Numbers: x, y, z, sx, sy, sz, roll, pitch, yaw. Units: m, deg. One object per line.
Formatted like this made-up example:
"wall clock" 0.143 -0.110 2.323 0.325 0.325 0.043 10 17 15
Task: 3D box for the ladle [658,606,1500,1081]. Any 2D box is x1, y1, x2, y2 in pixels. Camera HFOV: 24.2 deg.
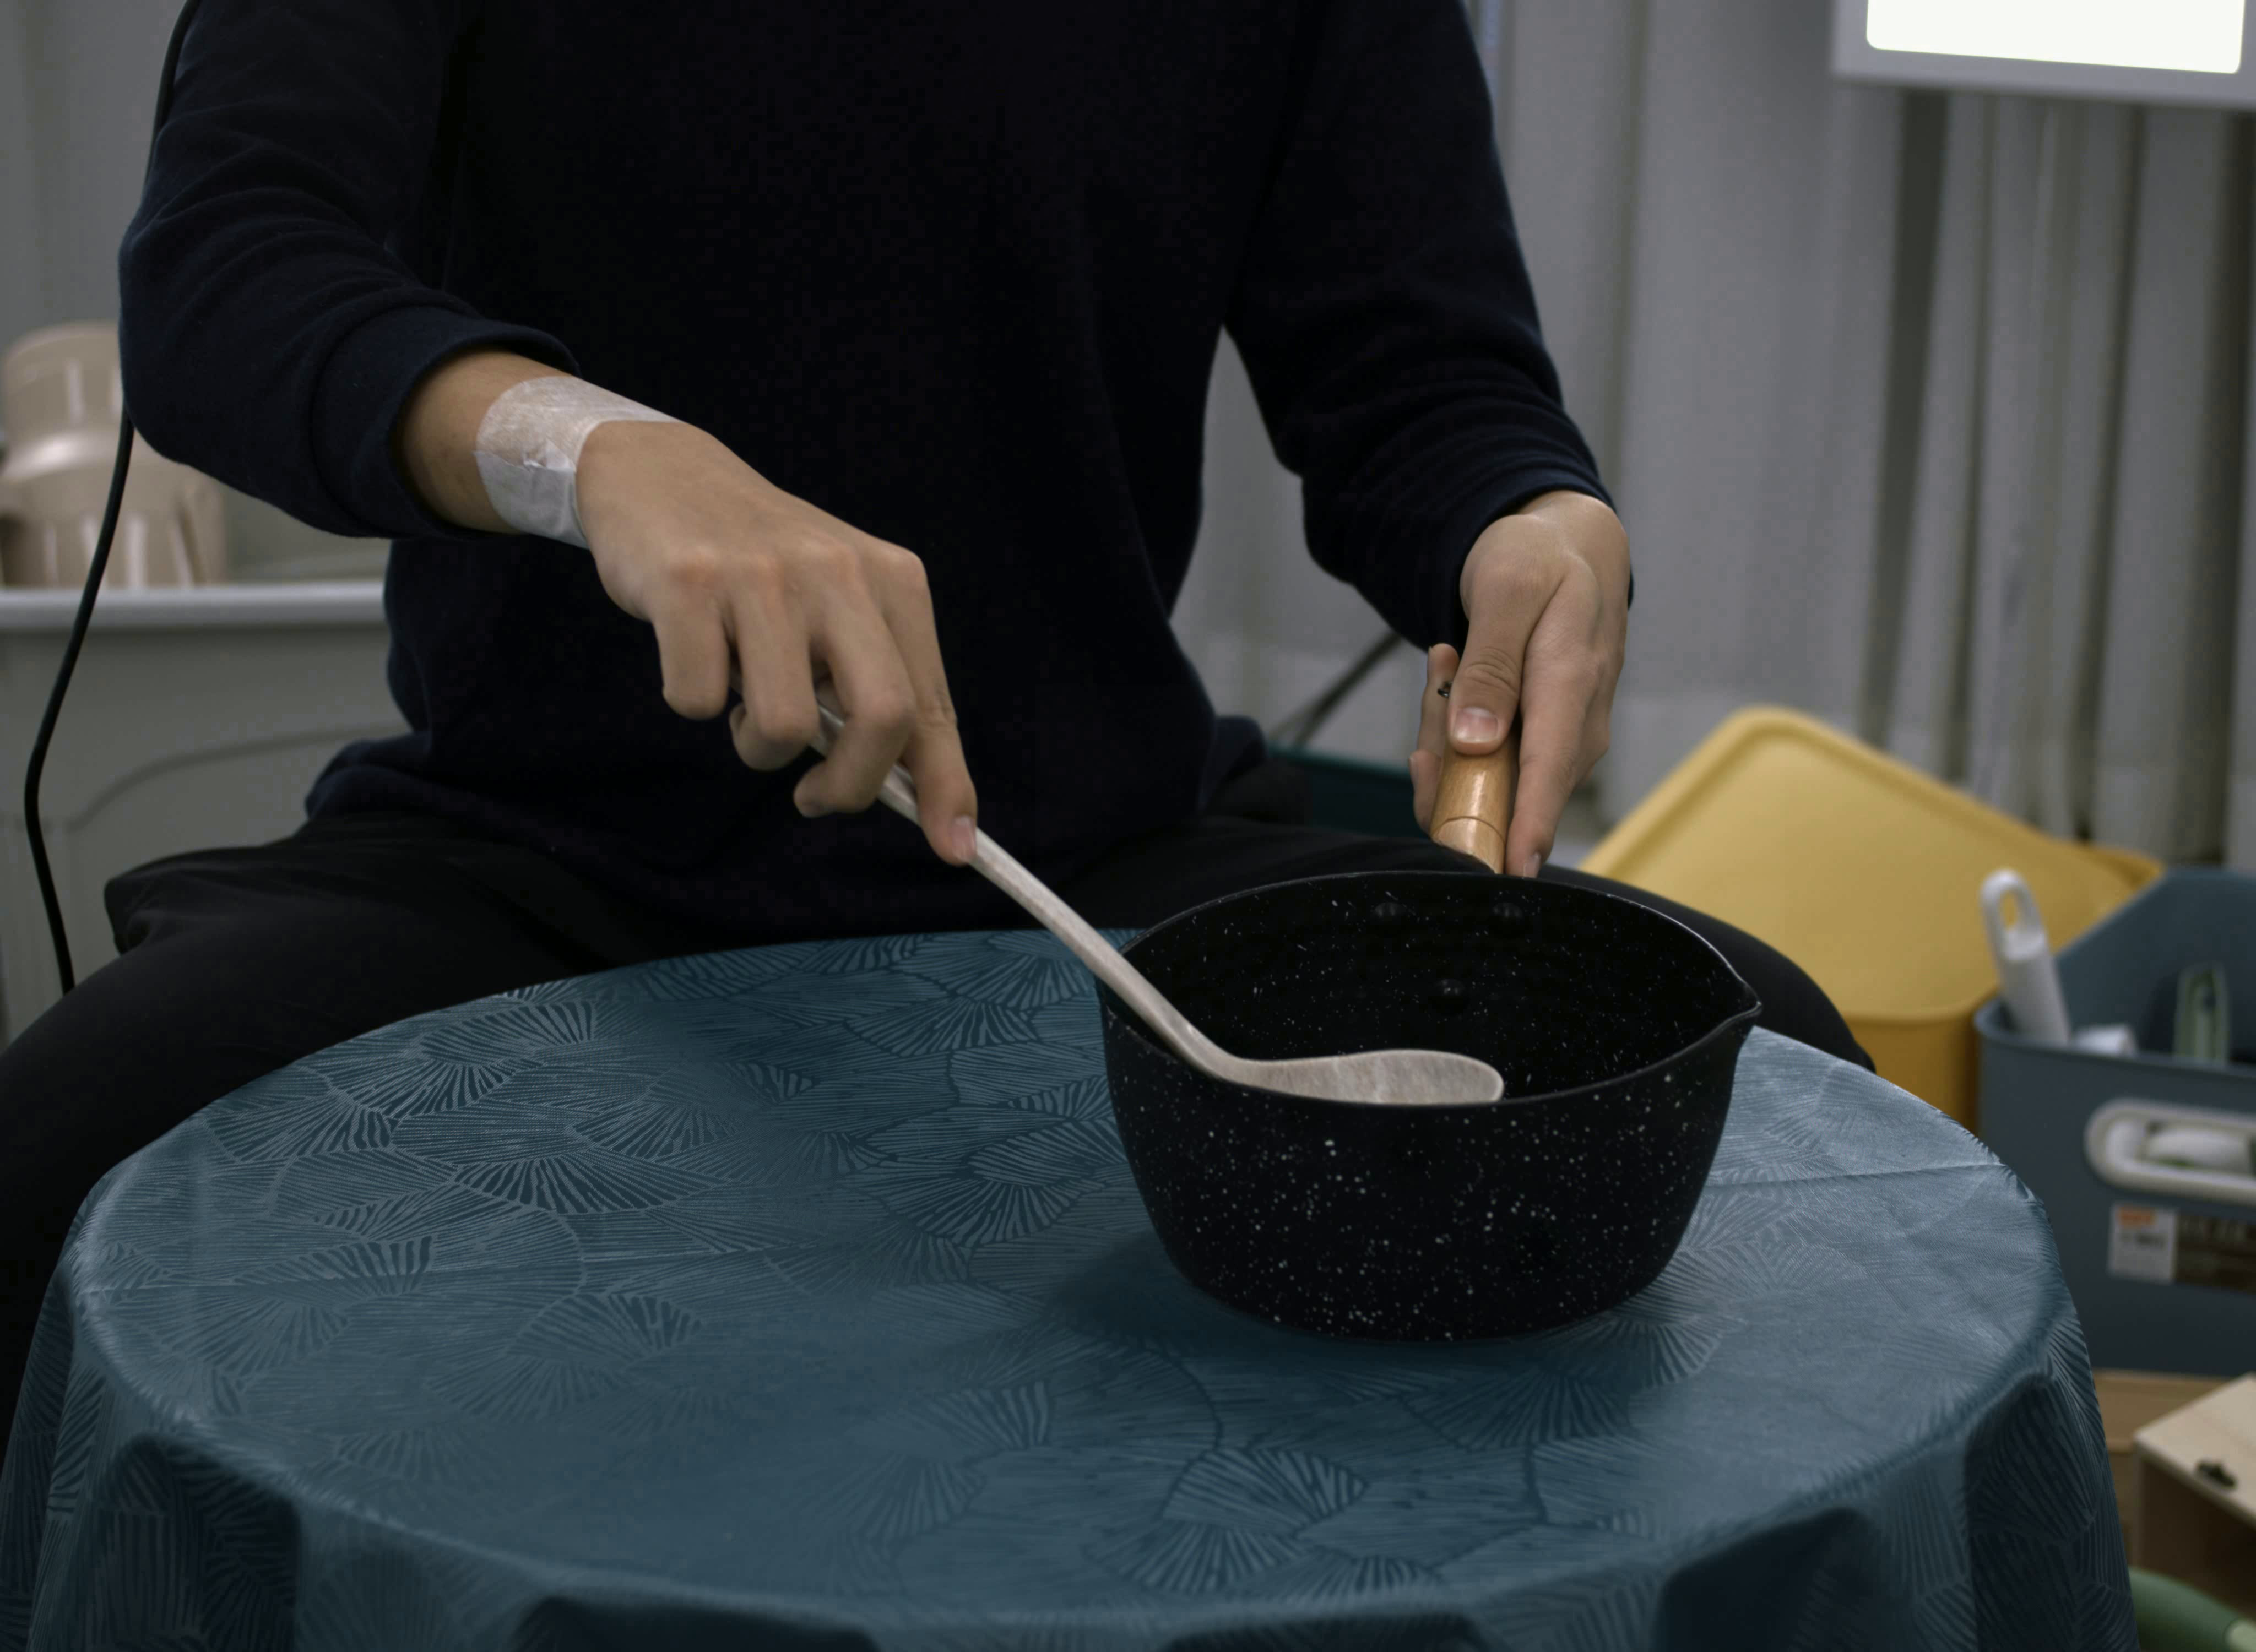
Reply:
"ladle" -0.012 0.009 1.514 0.276 0.069 0.089 43 19 -11

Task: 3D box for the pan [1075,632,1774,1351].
"pan" 0.096 0.045 1.620 0.206 0.109 0.341 1 22 8
